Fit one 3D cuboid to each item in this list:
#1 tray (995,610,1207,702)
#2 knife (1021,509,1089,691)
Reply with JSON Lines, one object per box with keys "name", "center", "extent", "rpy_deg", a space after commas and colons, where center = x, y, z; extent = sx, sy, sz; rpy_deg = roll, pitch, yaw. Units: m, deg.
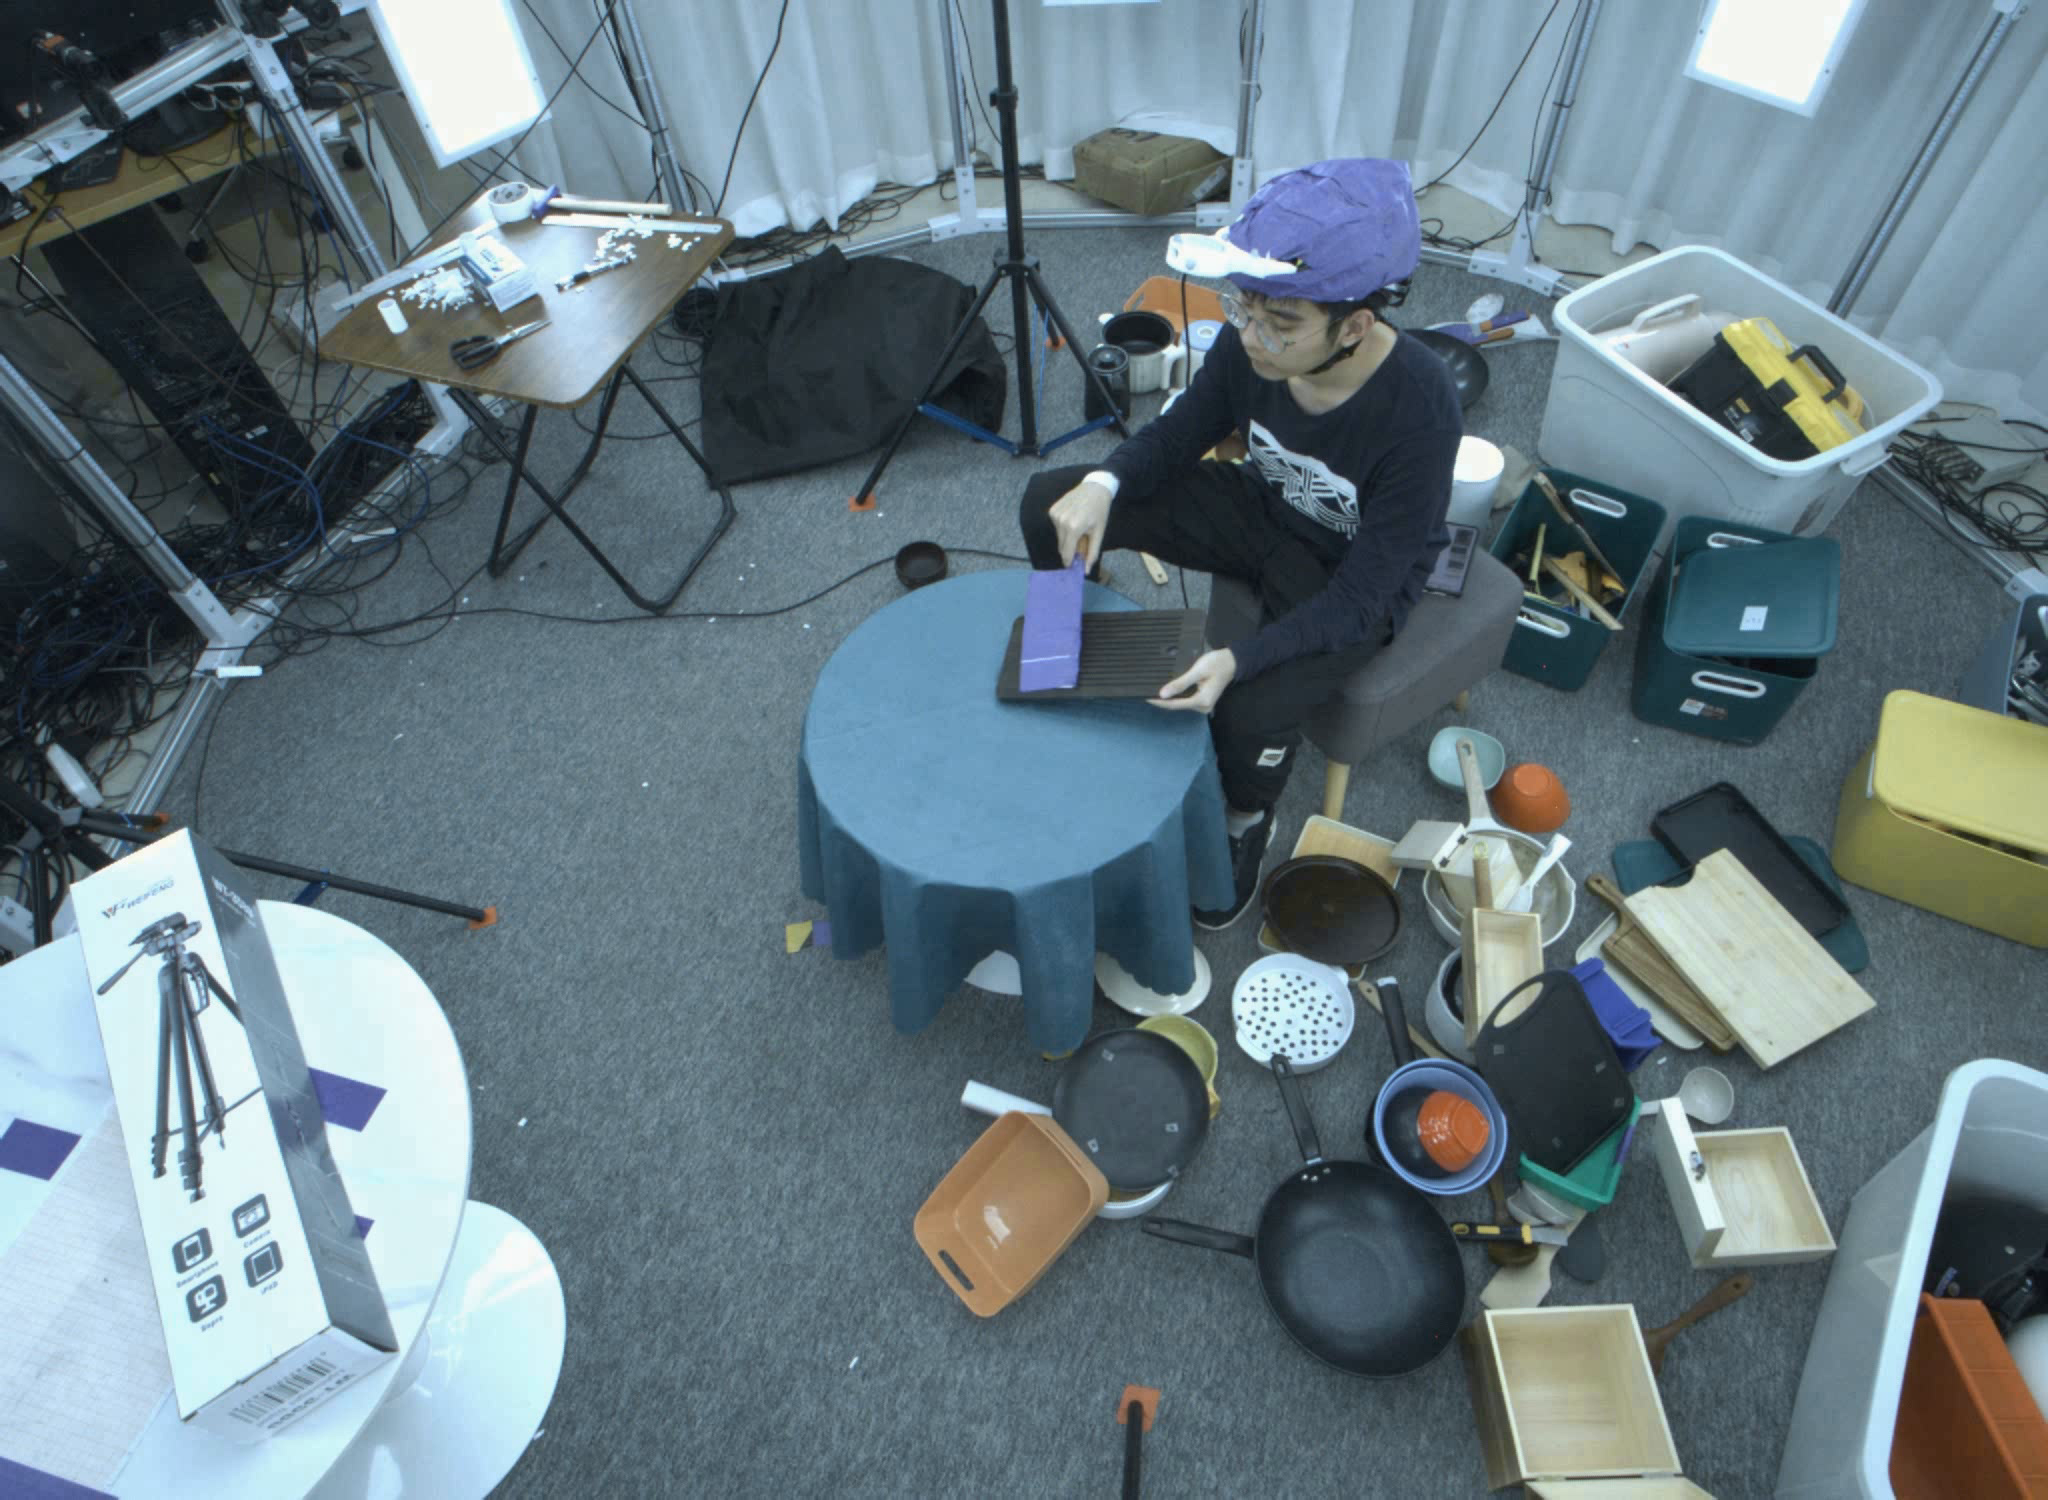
{"name": "tray", "center": [0.115, -0.138, 1.845], "extent": [0.302, 0.019, 0.169], "rpy_deg": [0, 53, 16]}
{"name": "knife", "center": [0.048, -0.233, 1.877], "extent": [0.103, 0.033, 0.313], "rpy_deg": [-4, 62, 16]}
